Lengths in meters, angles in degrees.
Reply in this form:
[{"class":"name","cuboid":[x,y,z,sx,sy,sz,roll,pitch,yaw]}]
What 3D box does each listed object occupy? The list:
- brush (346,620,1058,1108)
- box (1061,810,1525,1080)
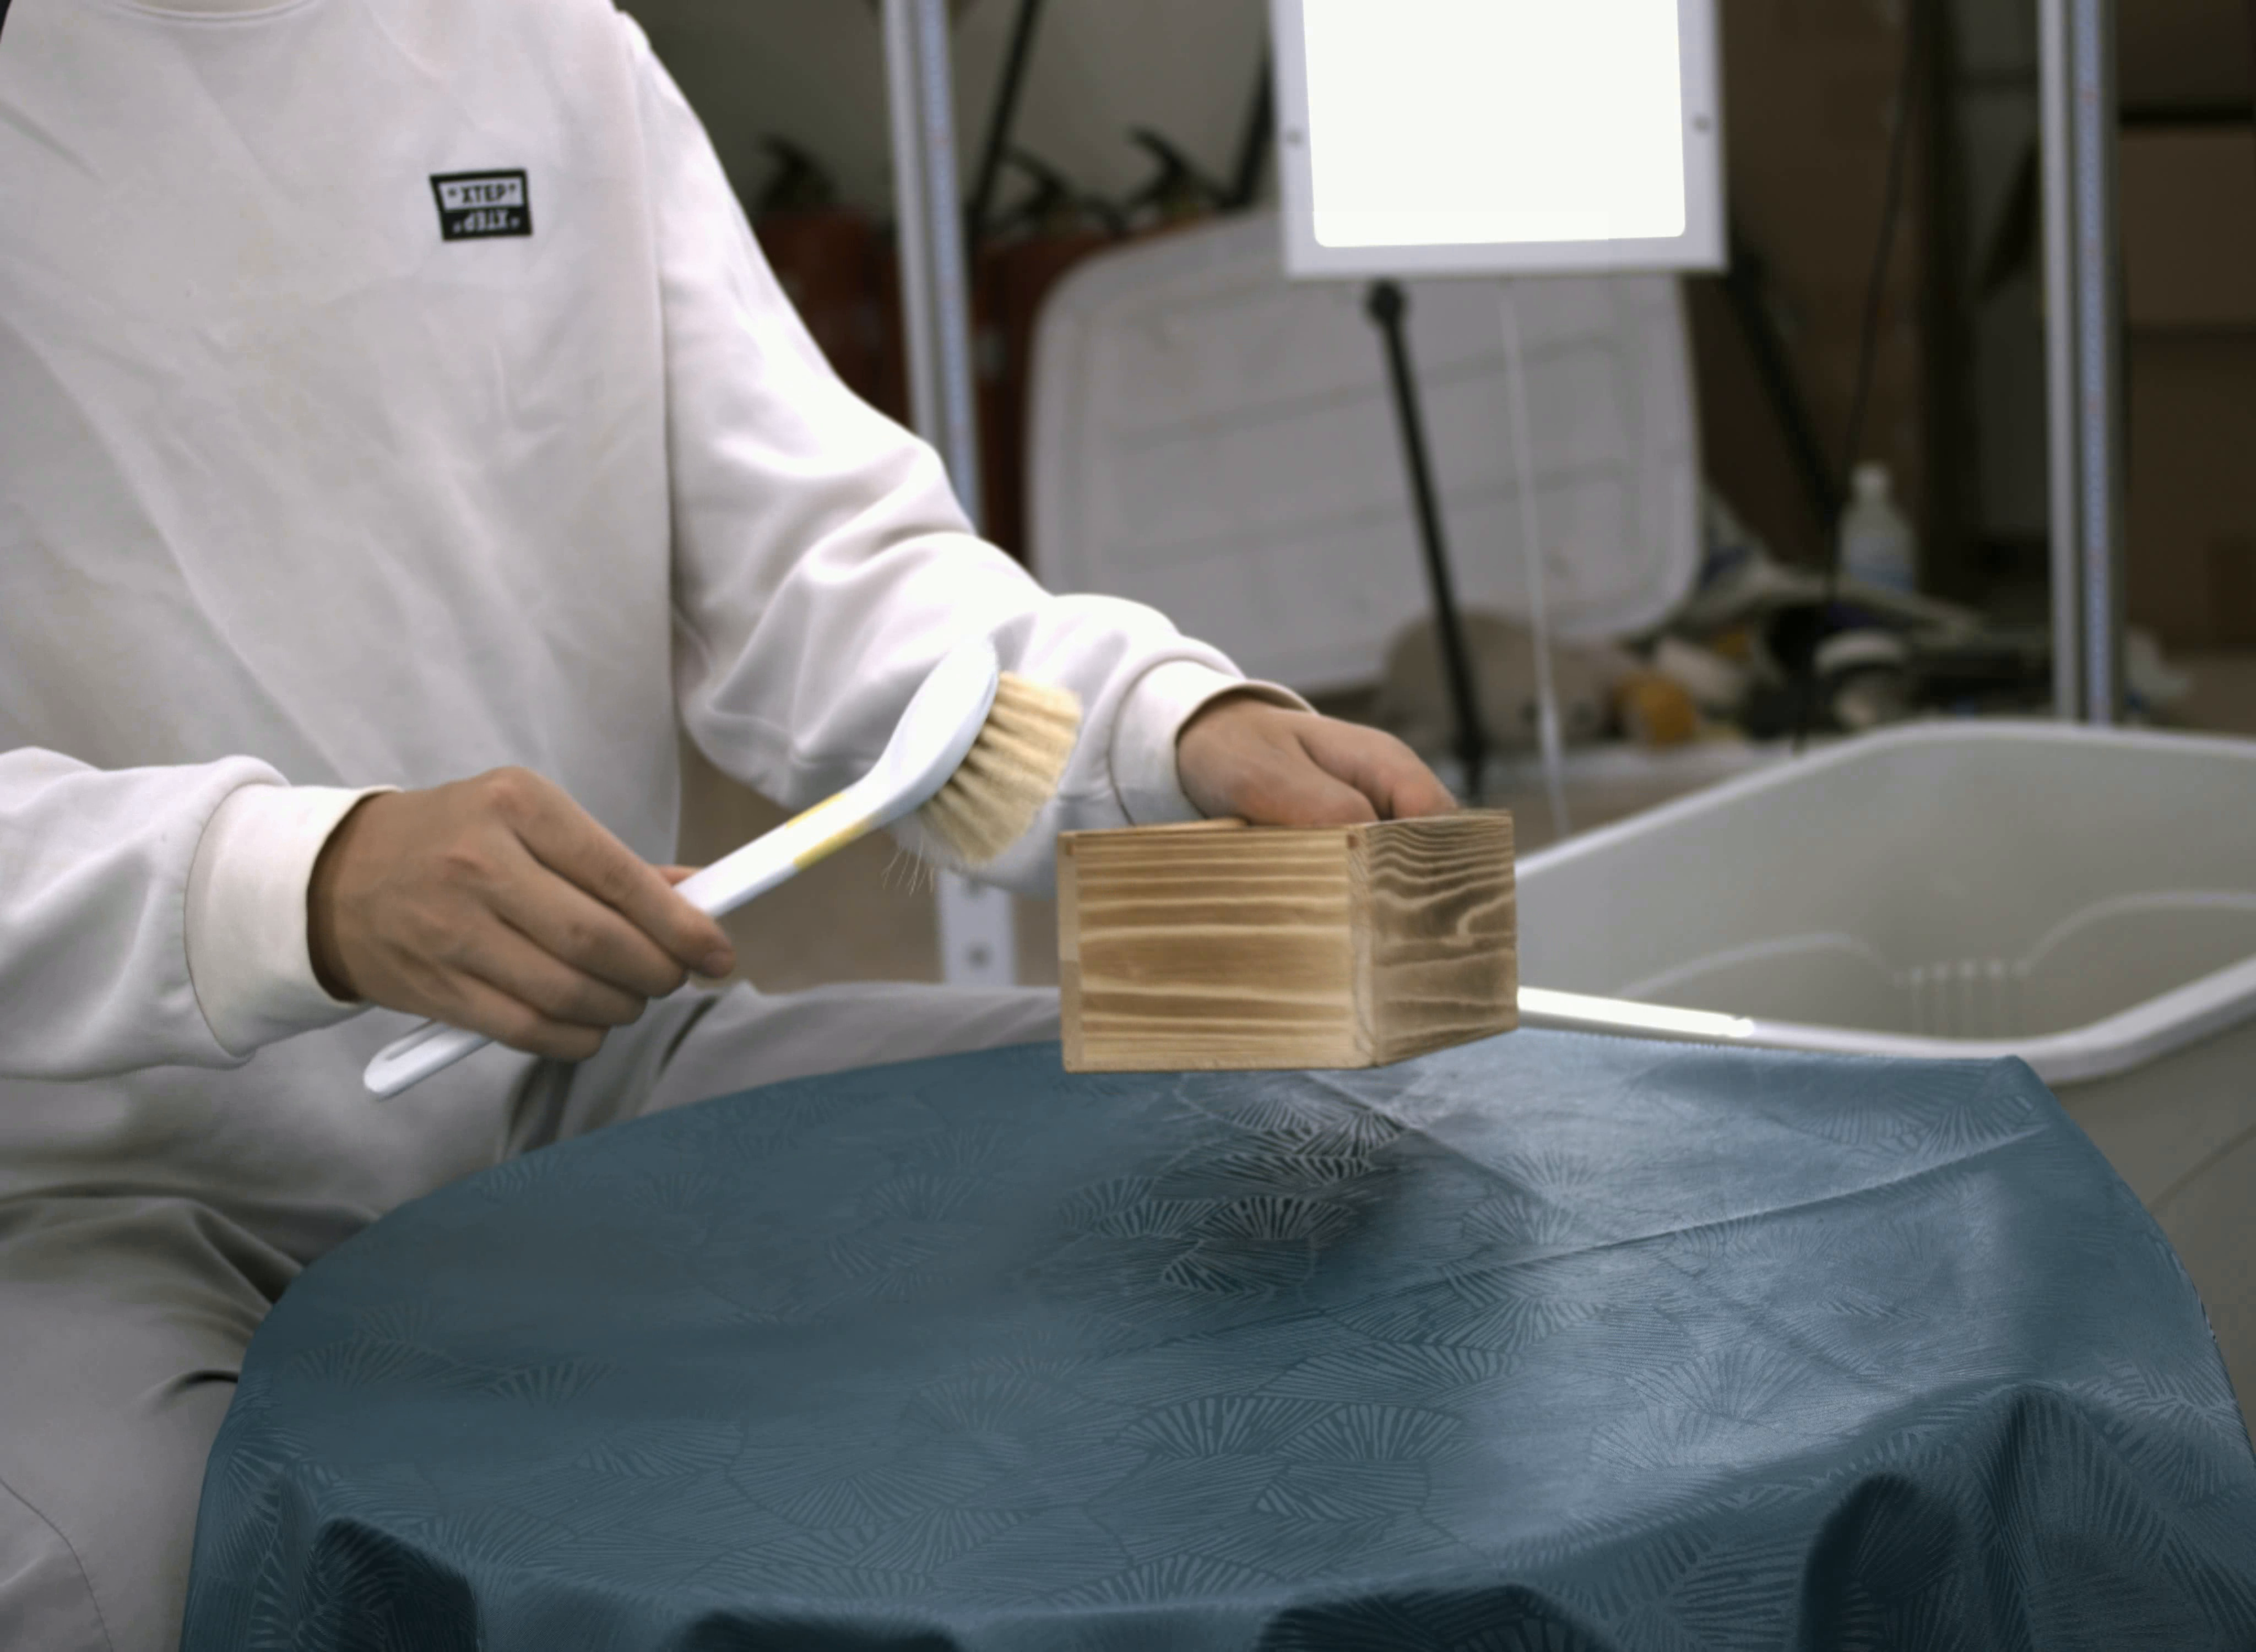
[{"class":"brush","cuboid":[-0.133,0.029,1.780,0.268,0.056,0.068,-36,17,12]},{"class":"box","cuboid":[0.060,0.039,1.868,0.109,0.080,0.208,-3,1,17]}]
